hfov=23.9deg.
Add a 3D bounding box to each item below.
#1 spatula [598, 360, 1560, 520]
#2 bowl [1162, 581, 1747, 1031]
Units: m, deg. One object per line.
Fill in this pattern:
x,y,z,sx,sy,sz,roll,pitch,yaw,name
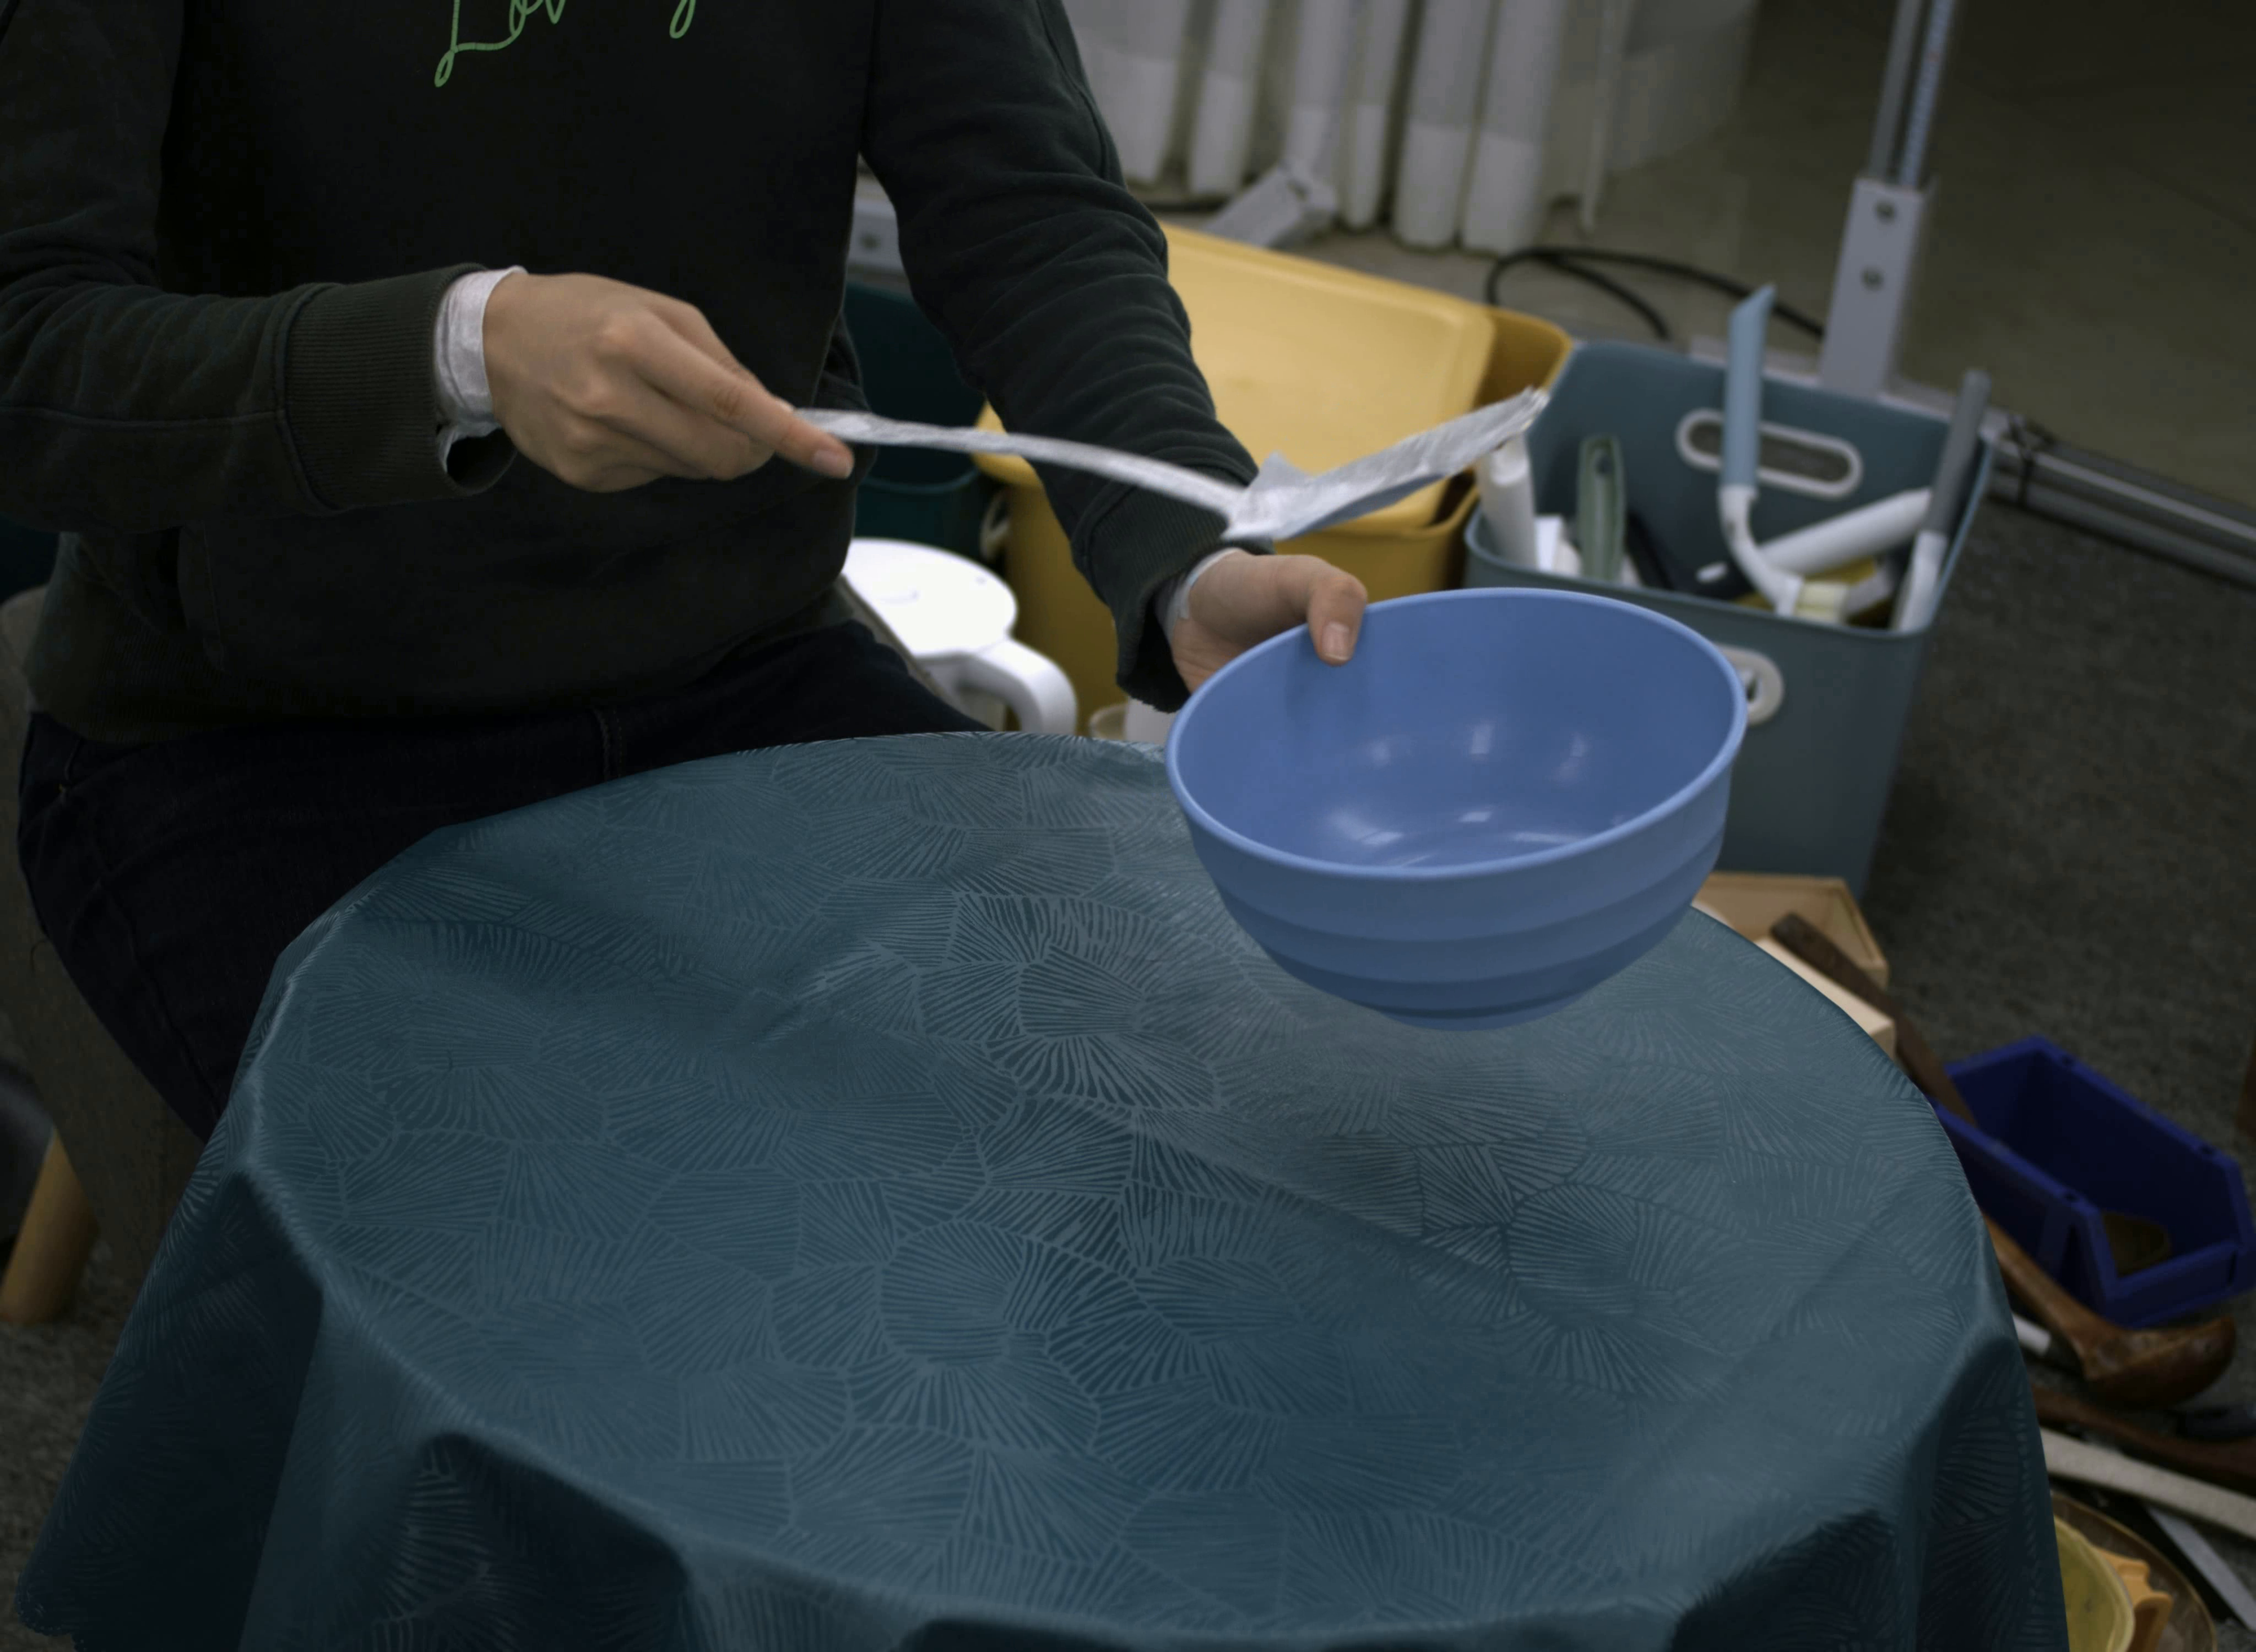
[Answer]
-0.032,-0.134,1.753,0.366,0.044,0.098,8,27,28,spatula
0.114,0.005,1.799,0.196,0.095,0.198,-7,30,3,bowl
